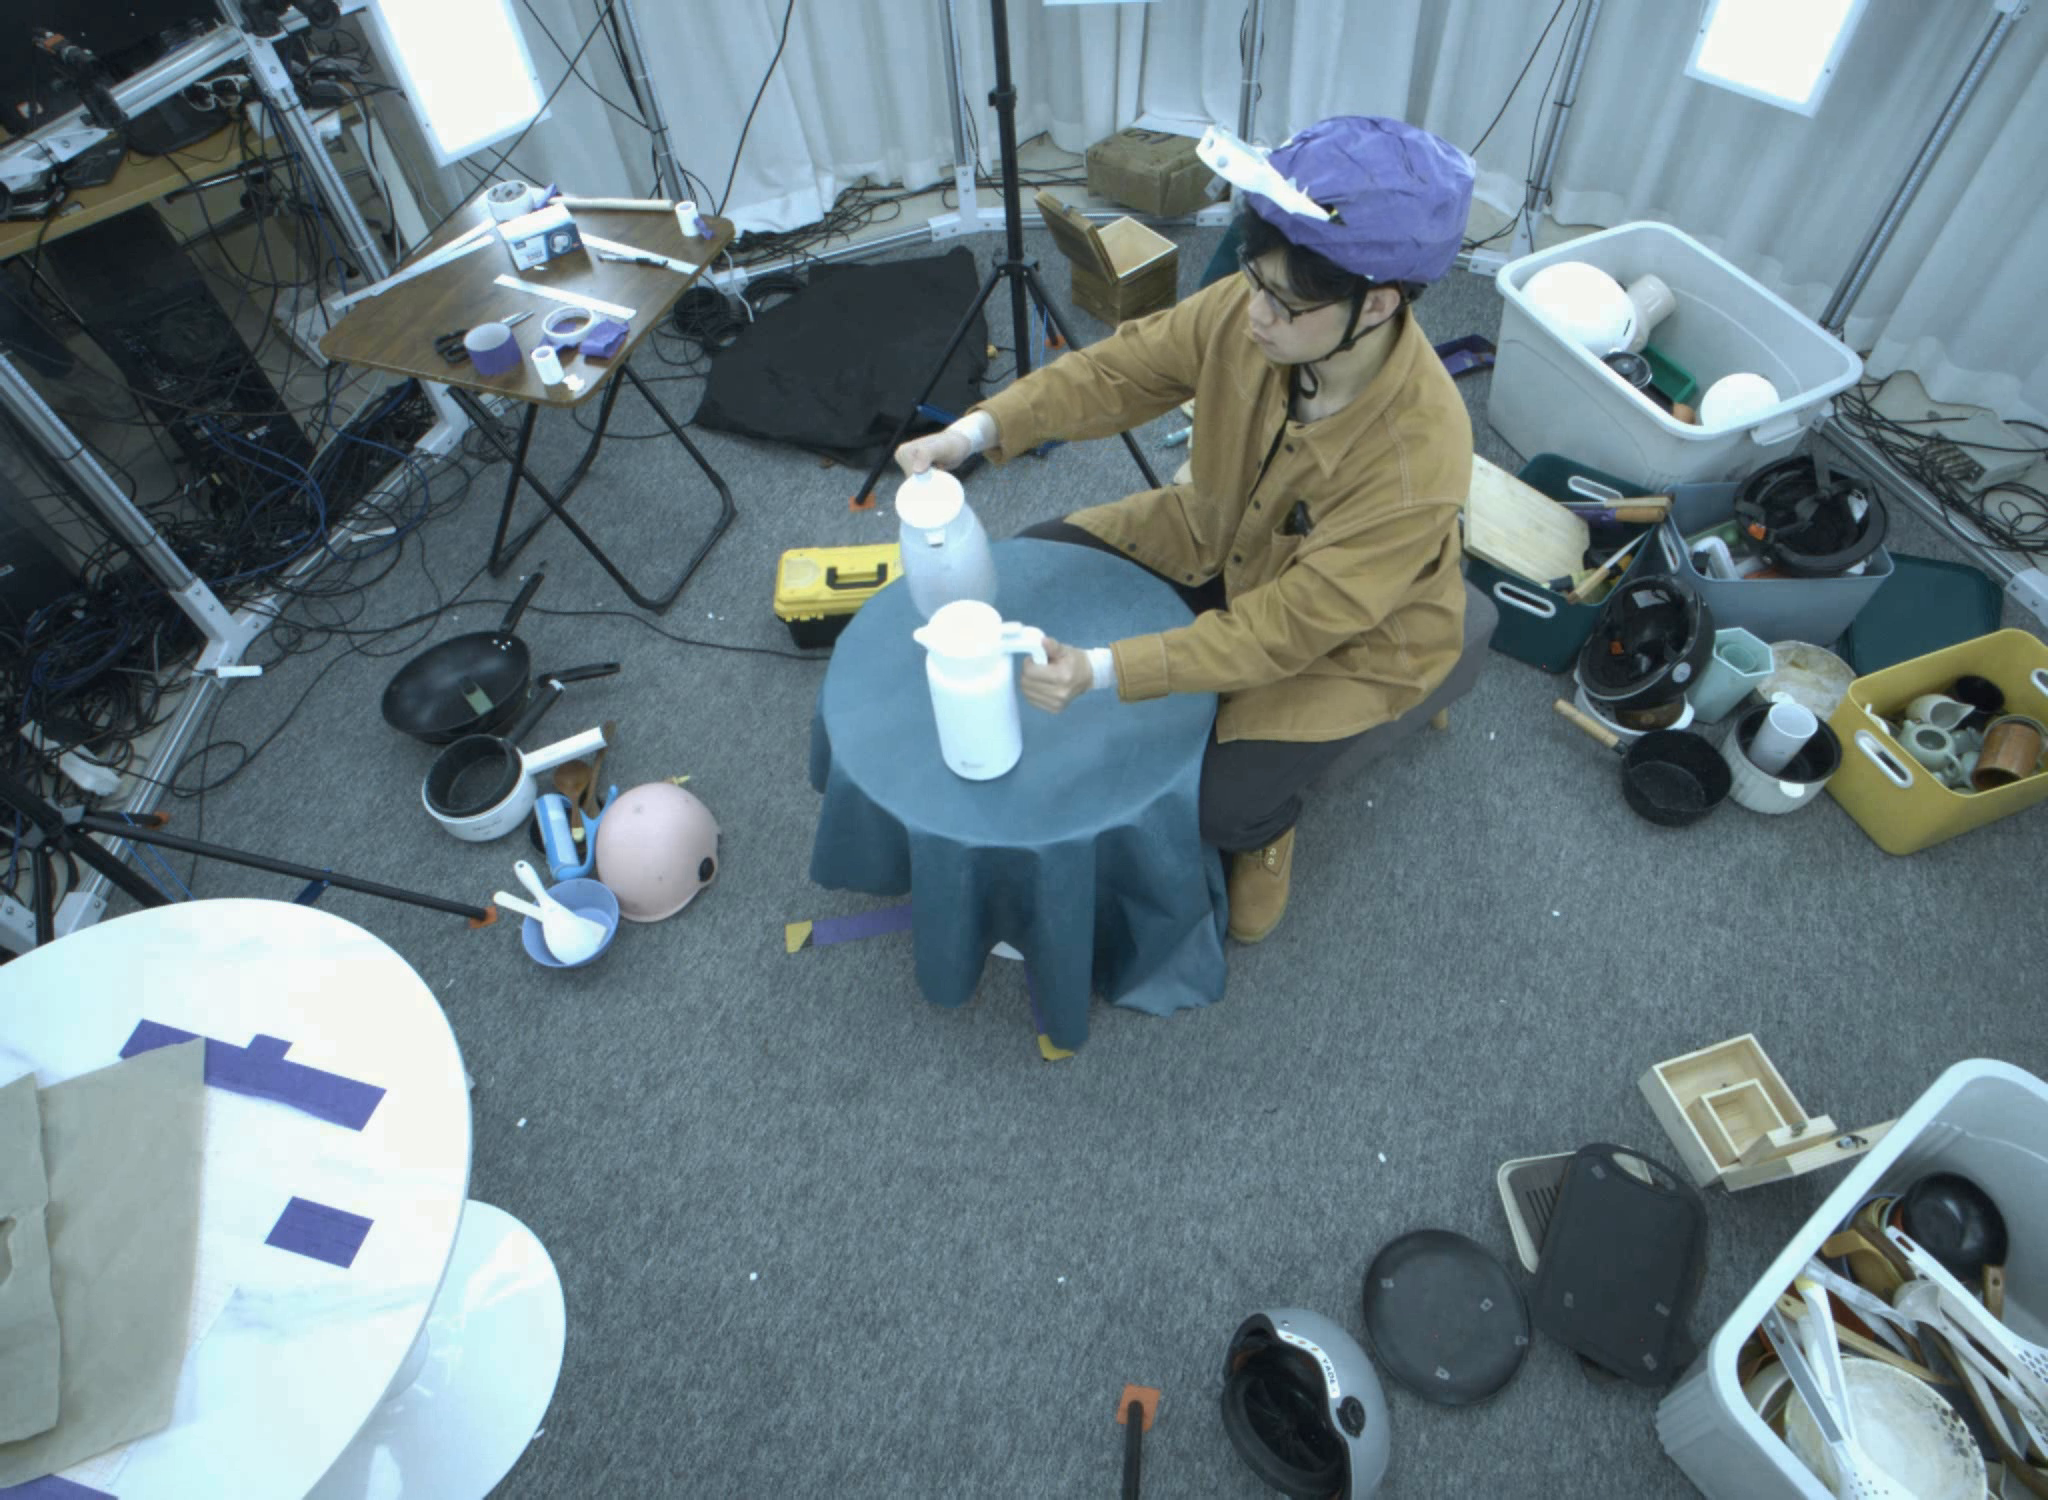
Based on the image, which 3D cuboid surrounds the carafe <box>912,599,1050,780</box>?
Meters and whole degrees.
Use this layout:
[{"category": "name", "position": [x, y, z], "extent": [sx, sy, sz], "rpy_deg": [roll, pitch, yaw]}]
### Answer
[{"category": "carafe", "position": [-0.051, -0.080, 1.677], "extent": [0.173, 0.272, 0.122], "rpy_deg": [-3, 52, 1]}]

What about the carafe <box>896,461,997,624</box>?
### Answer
[{"category": "carafe", "position": [-0.121, -0.303, 1.722], "extent": [0.132, 0.251, 0.166], "rpy_deg": [-11, 66, 1]}]
